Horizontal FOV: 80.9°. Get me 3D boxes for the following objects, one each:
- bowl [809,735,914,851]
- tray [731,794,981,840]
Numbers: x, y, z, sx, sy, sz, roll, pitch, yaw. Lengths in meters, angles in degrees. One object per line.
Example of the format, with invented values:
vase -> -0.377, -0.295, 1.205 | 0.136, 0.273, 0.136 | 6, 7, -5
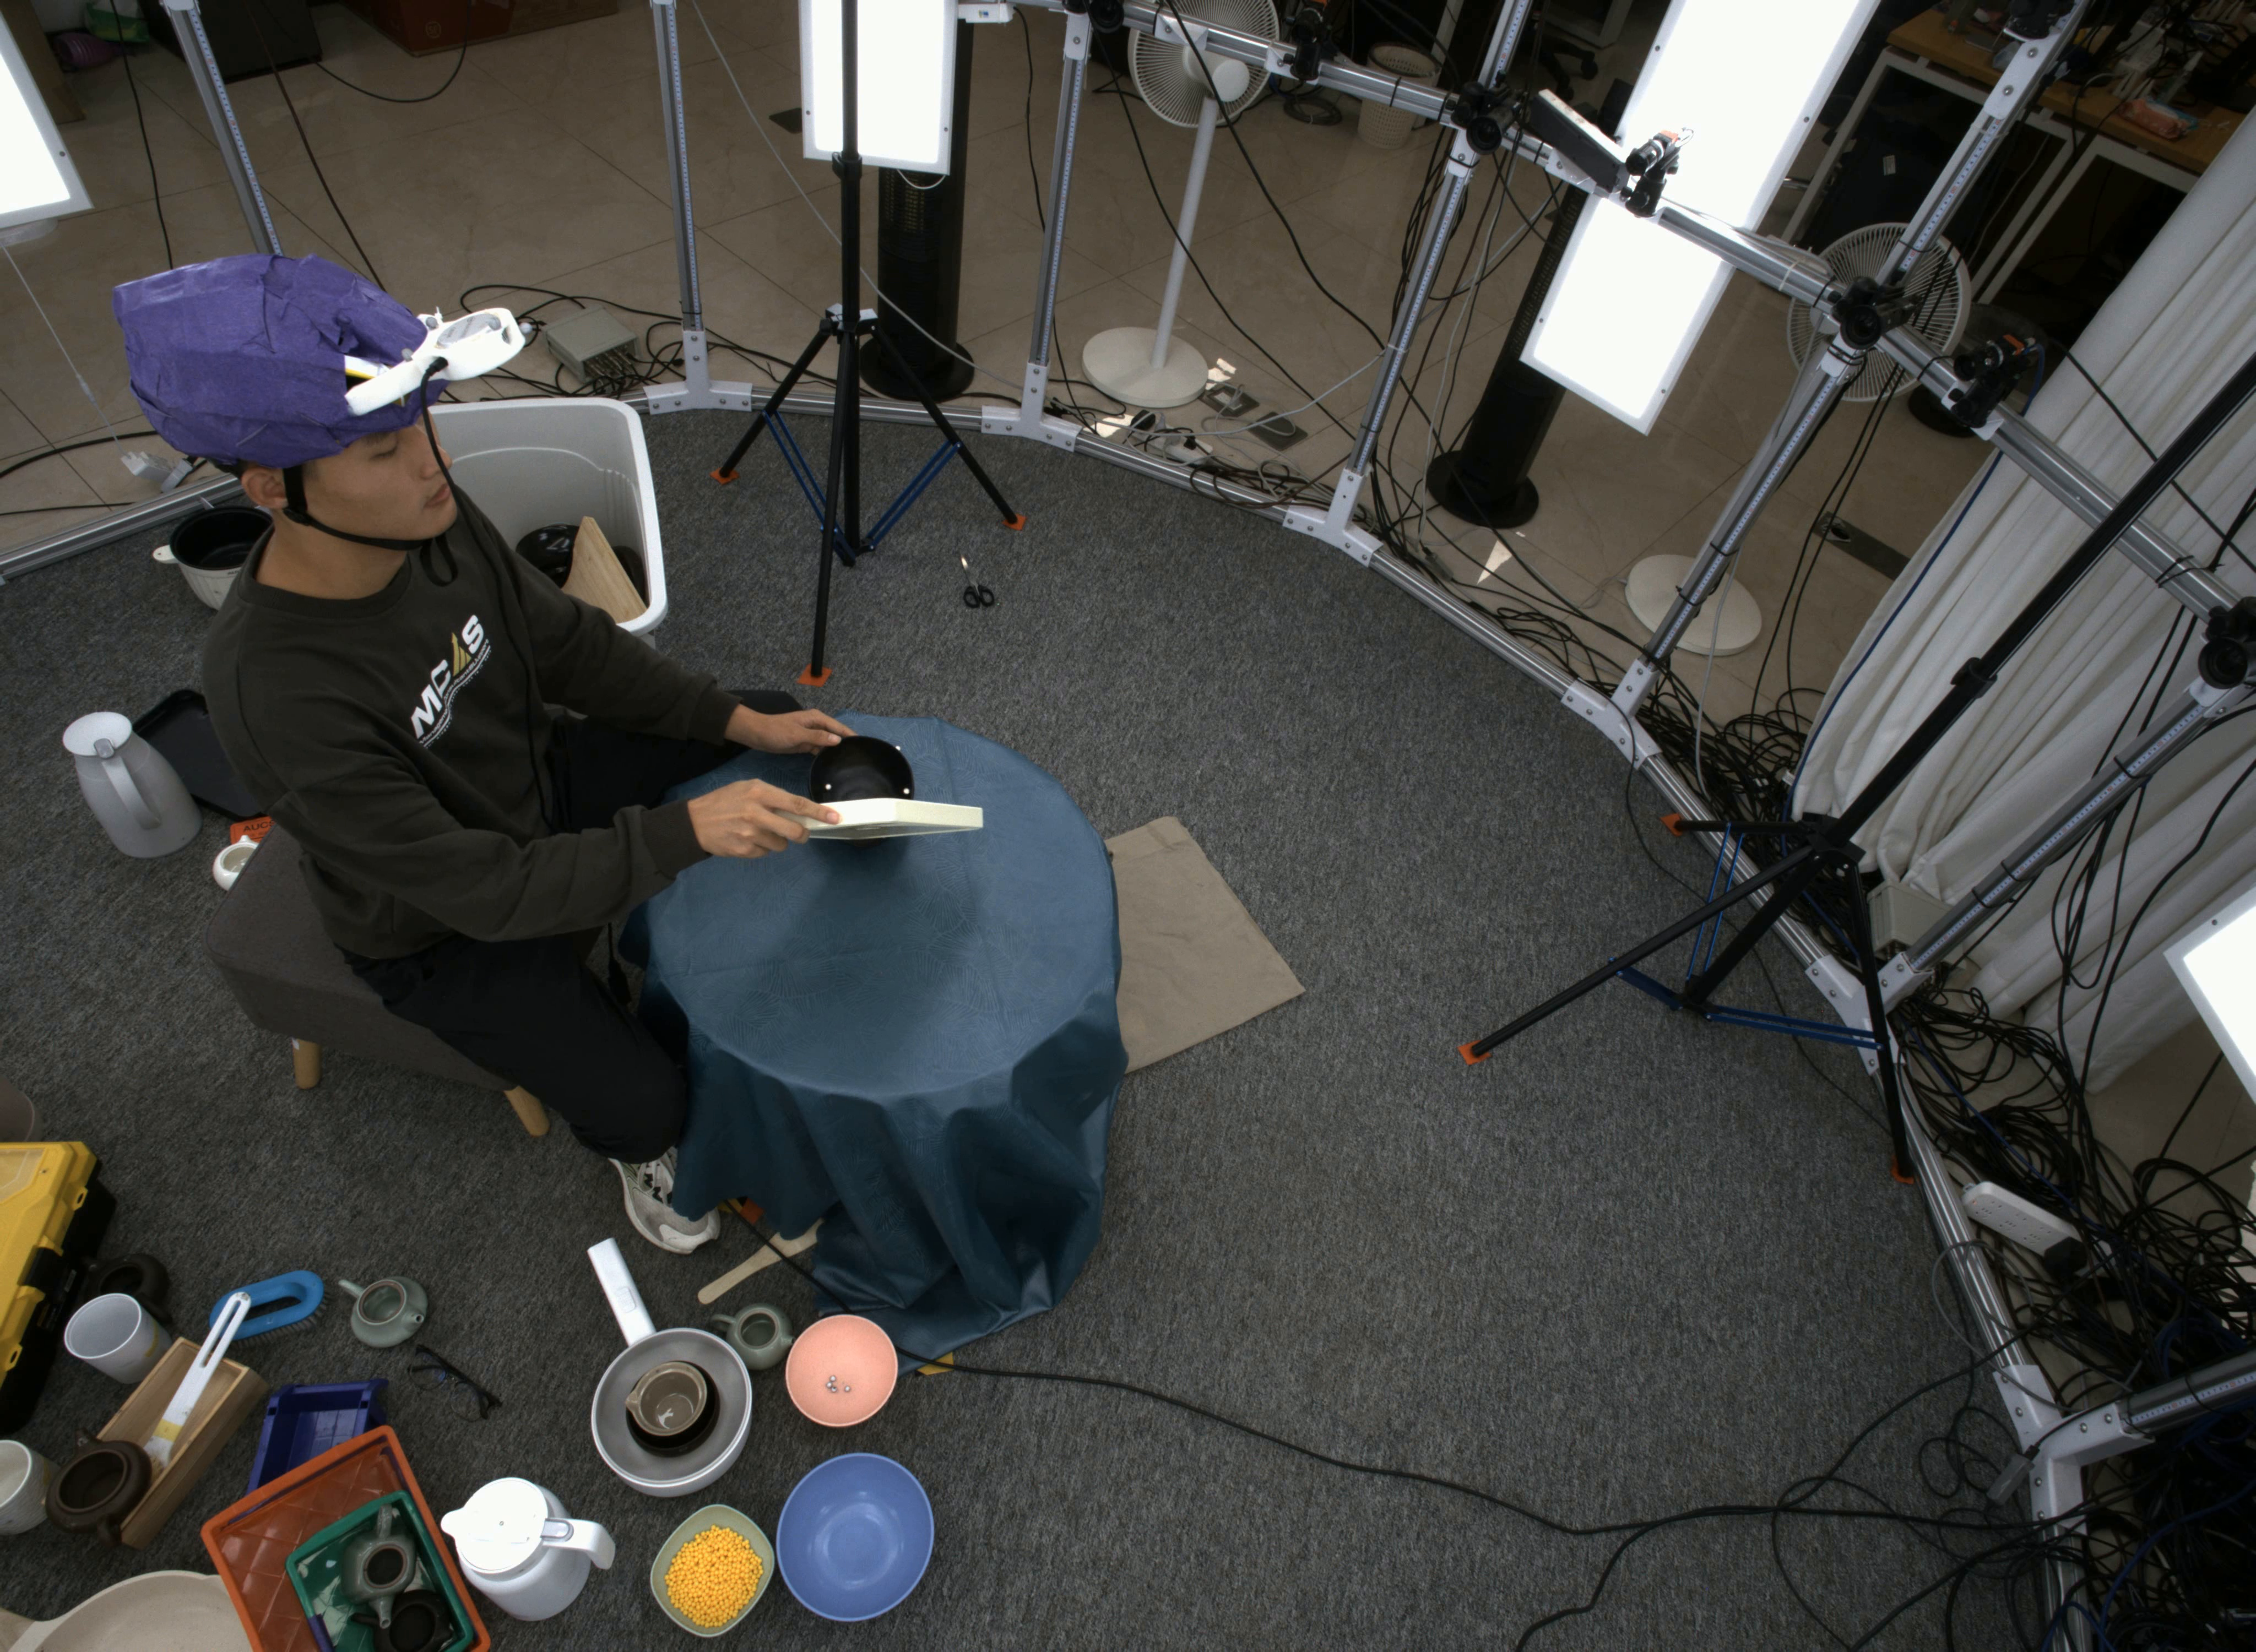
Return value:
bowl -> -0.354, -0.037, 1.736 | 0.137, 0.068, 0.167 | -7, 64, -15
tray -> -0.311, -0.009, 1.537 | 0.187, 0.304, 0.027 | -5, 86, 14
